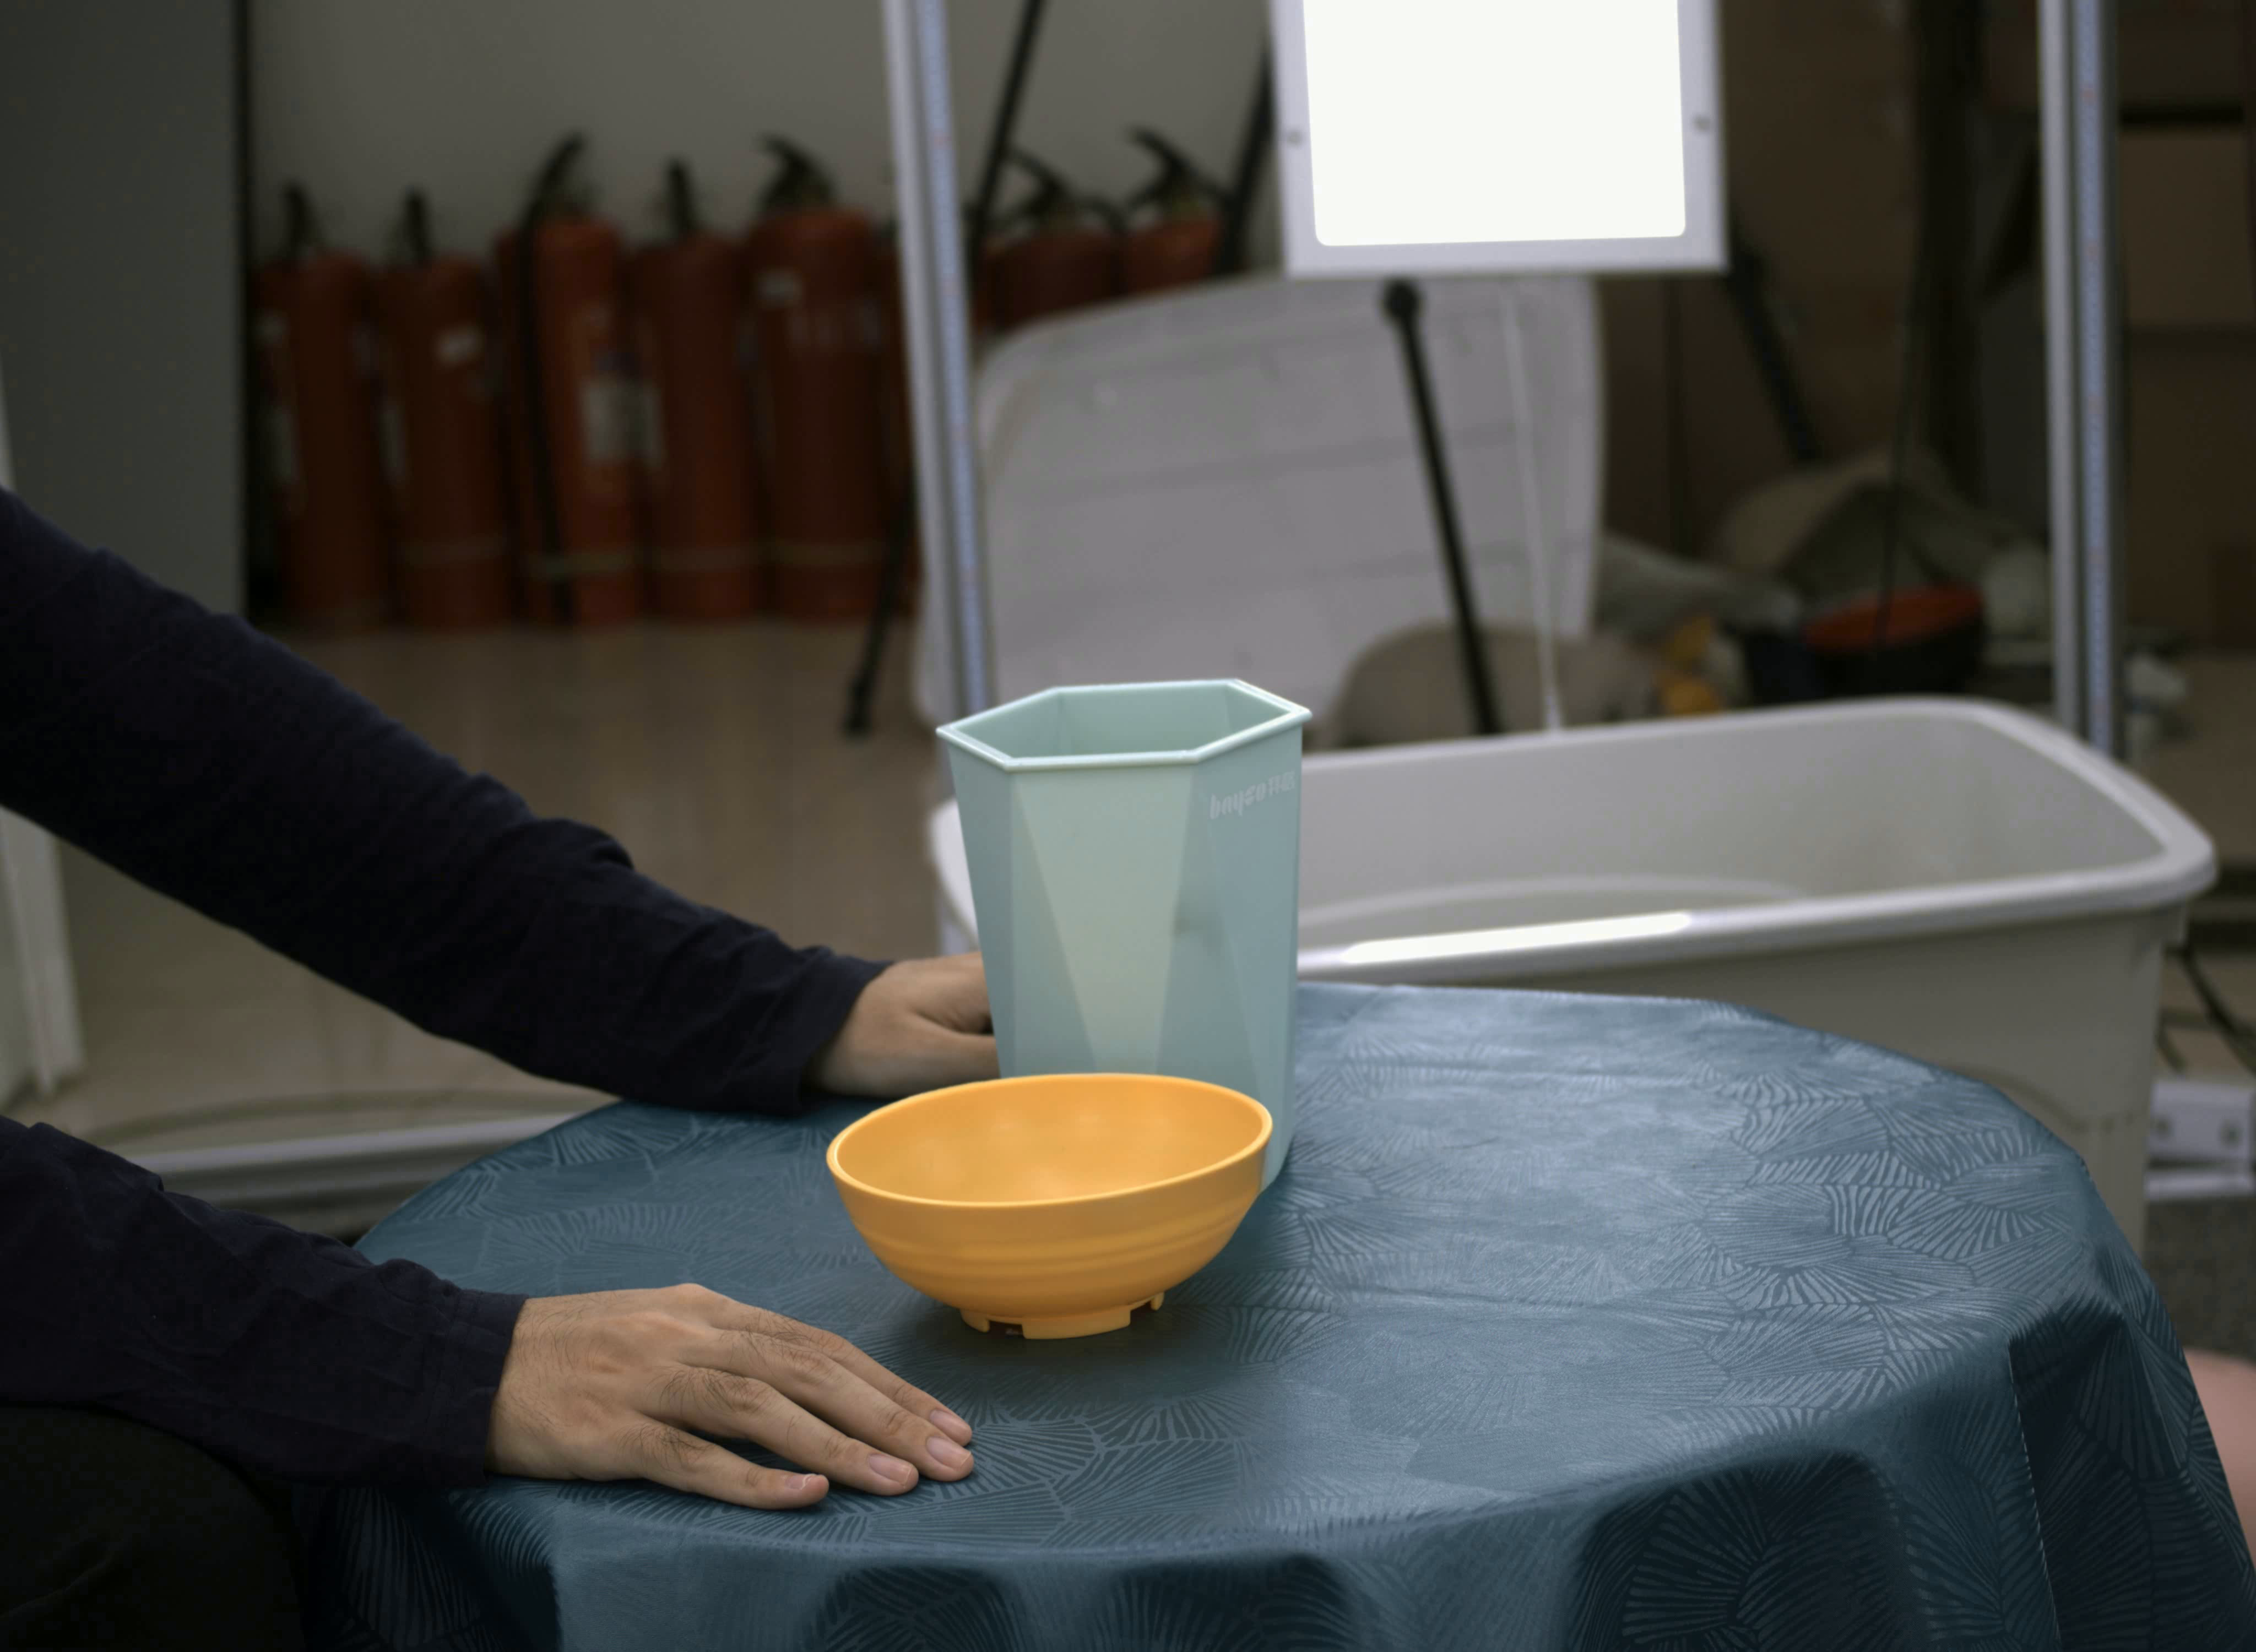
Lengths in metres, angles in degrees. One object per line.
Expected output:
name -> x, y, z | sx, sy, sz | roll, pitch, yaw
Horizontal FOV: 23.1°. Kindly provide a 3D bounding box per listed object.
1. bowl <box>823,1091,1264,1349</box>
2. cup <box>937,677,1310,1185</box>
bowl -> -0.025, 0.131, 1.778 | 0.145, 0.060, 0.145 | -7, 11, 0
cup -> 0.005, 0.039, 1.910 | 0.117, 0.163, 0.128 | 4, 16, 38
